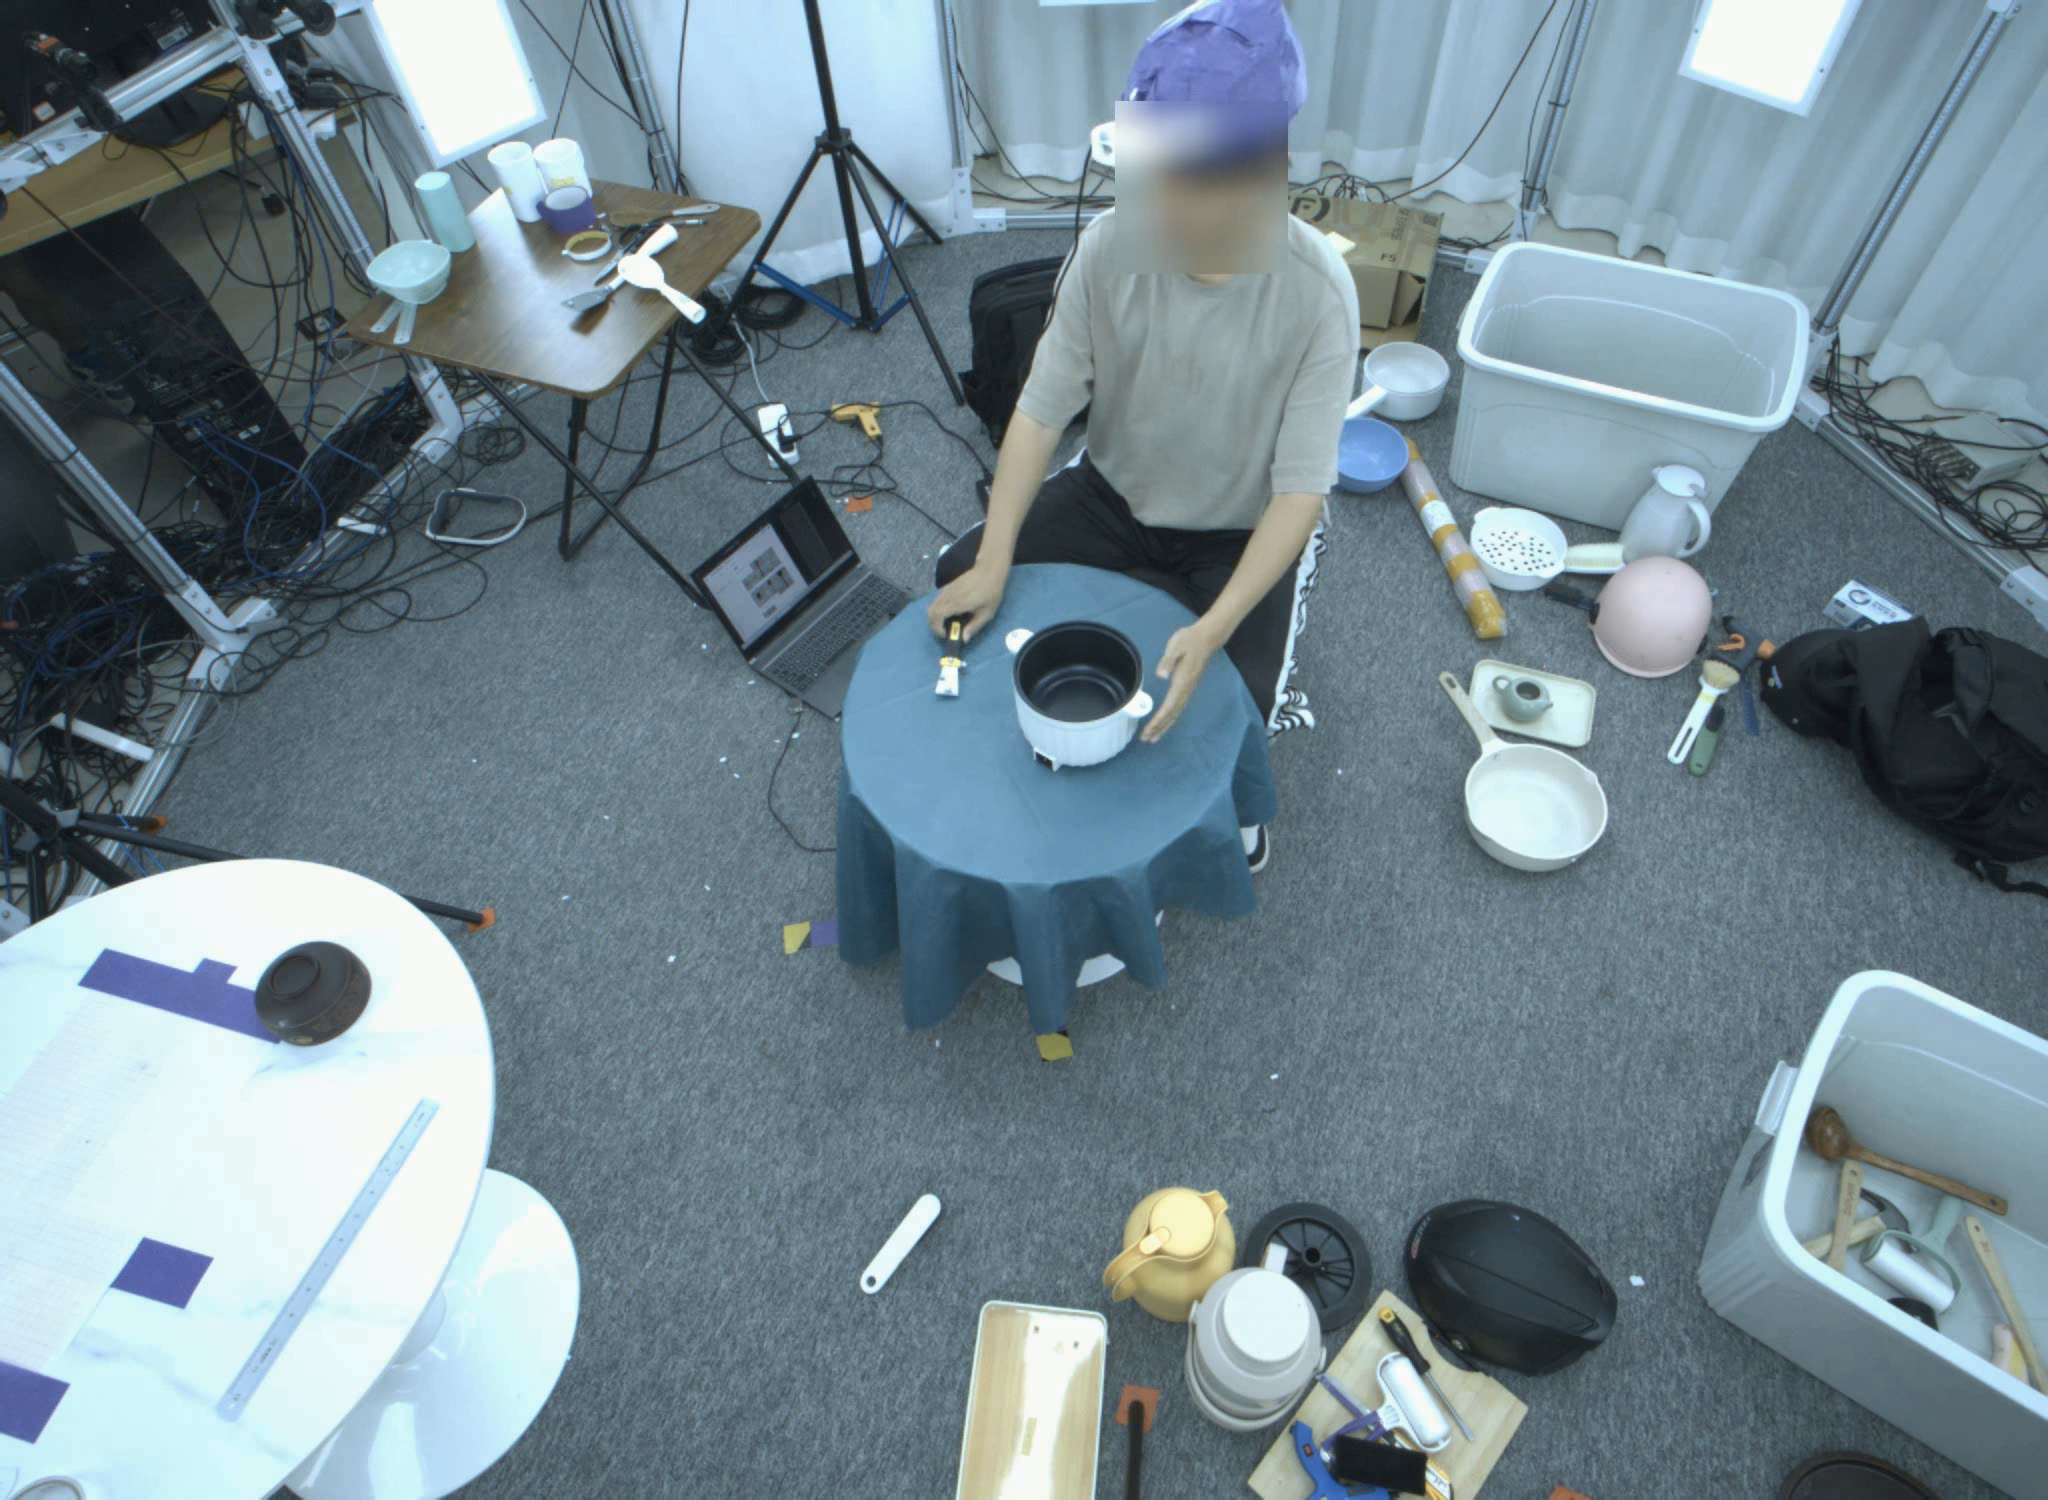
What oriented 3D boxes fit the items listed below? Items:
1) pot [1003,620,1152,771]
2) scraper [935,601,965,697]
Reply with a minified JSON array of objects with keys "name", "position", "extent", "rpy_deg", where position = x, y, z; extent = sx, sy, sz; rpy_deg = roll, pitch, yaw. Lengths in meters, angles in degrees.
[{"name":"pot","position":[0.079,-0.078,1.752],"extent":[0.237,0.144,0.191],"rpy_deg":[30,65,20]},{"name":"scraper","position":[-0.111,-0.156,1.875],"extent":[0.039,0.015,0.169],"rpy_deg":[4,64,0]}]
